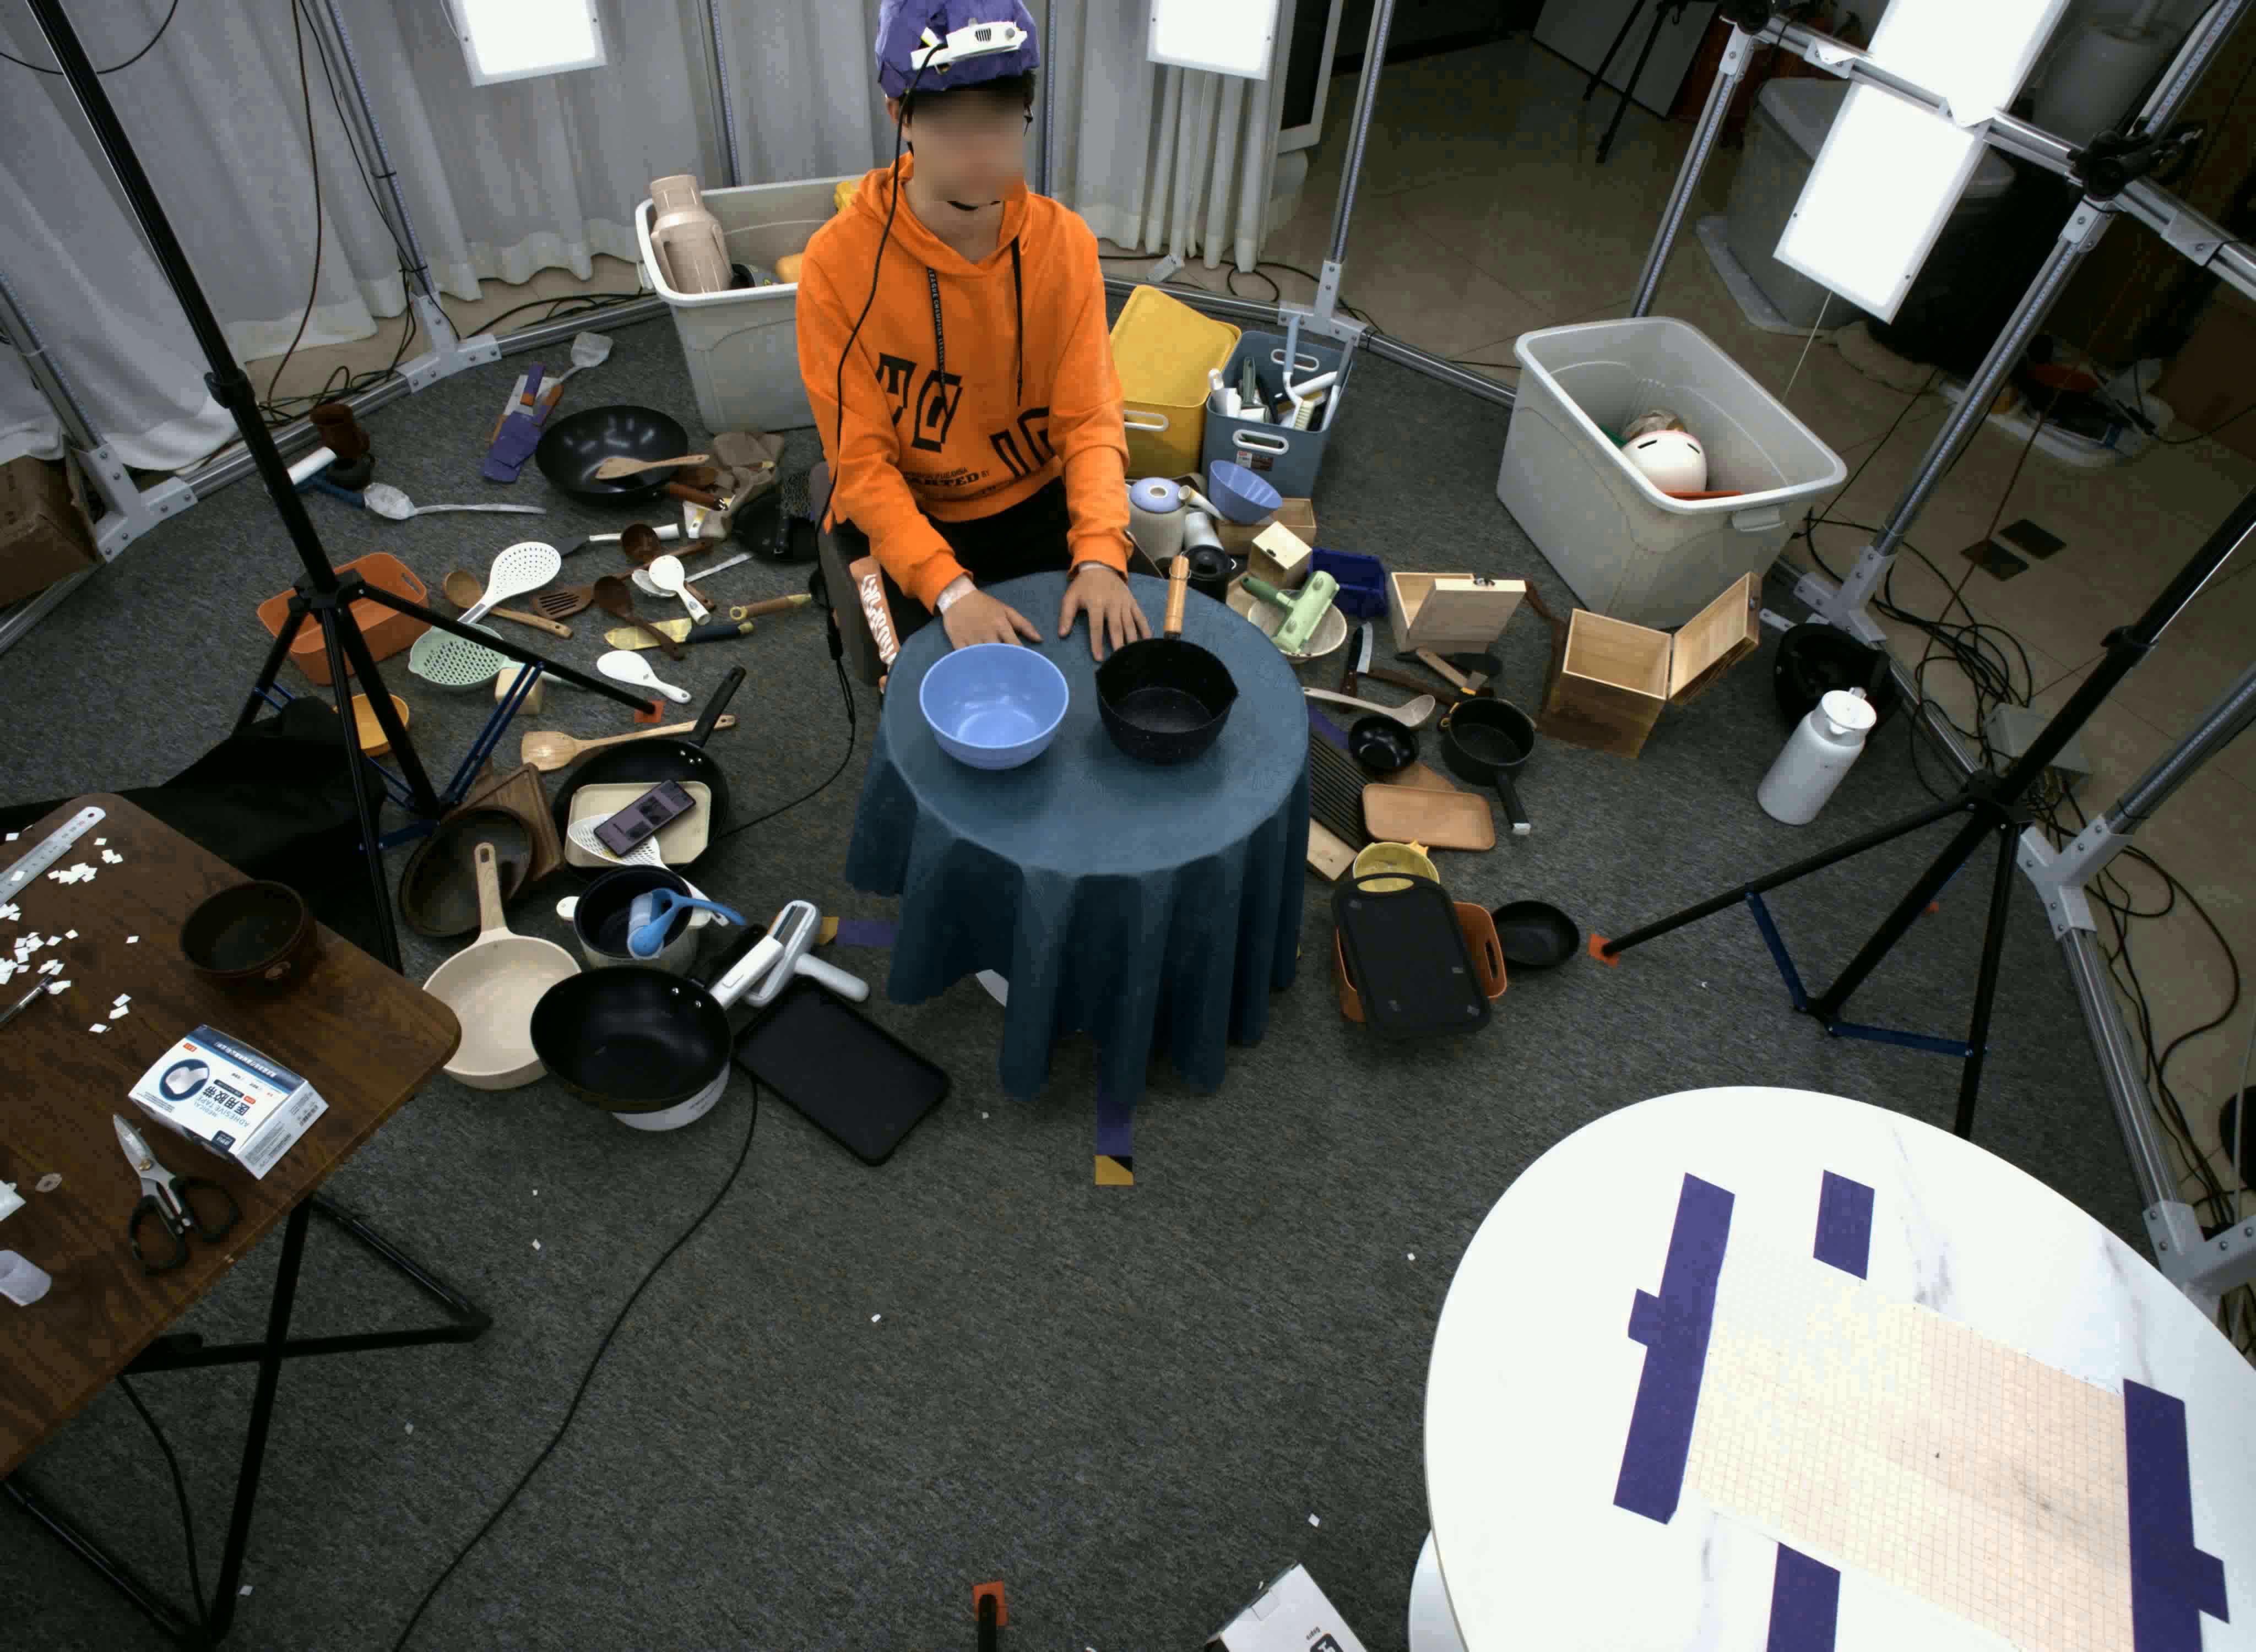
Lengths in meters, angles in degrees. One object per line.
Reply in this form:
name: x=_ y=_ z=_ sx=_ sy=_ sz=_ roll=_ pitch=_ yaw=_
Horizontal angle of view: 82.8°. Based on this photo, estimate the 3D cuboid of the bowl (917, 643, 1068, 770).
bowl: x=-0.179 y=-0.145 z=1.721 sx=0.196 sy=0.093 sz=0.201 roll=1 pitch=50 yaw=-2

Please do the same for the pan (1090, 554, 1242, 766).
pan: x=0.056 y=-0.234 z=1.806 sx=0.207 sy=0.105 sz=0.351 roll=5 pitch=50 yaw=2
